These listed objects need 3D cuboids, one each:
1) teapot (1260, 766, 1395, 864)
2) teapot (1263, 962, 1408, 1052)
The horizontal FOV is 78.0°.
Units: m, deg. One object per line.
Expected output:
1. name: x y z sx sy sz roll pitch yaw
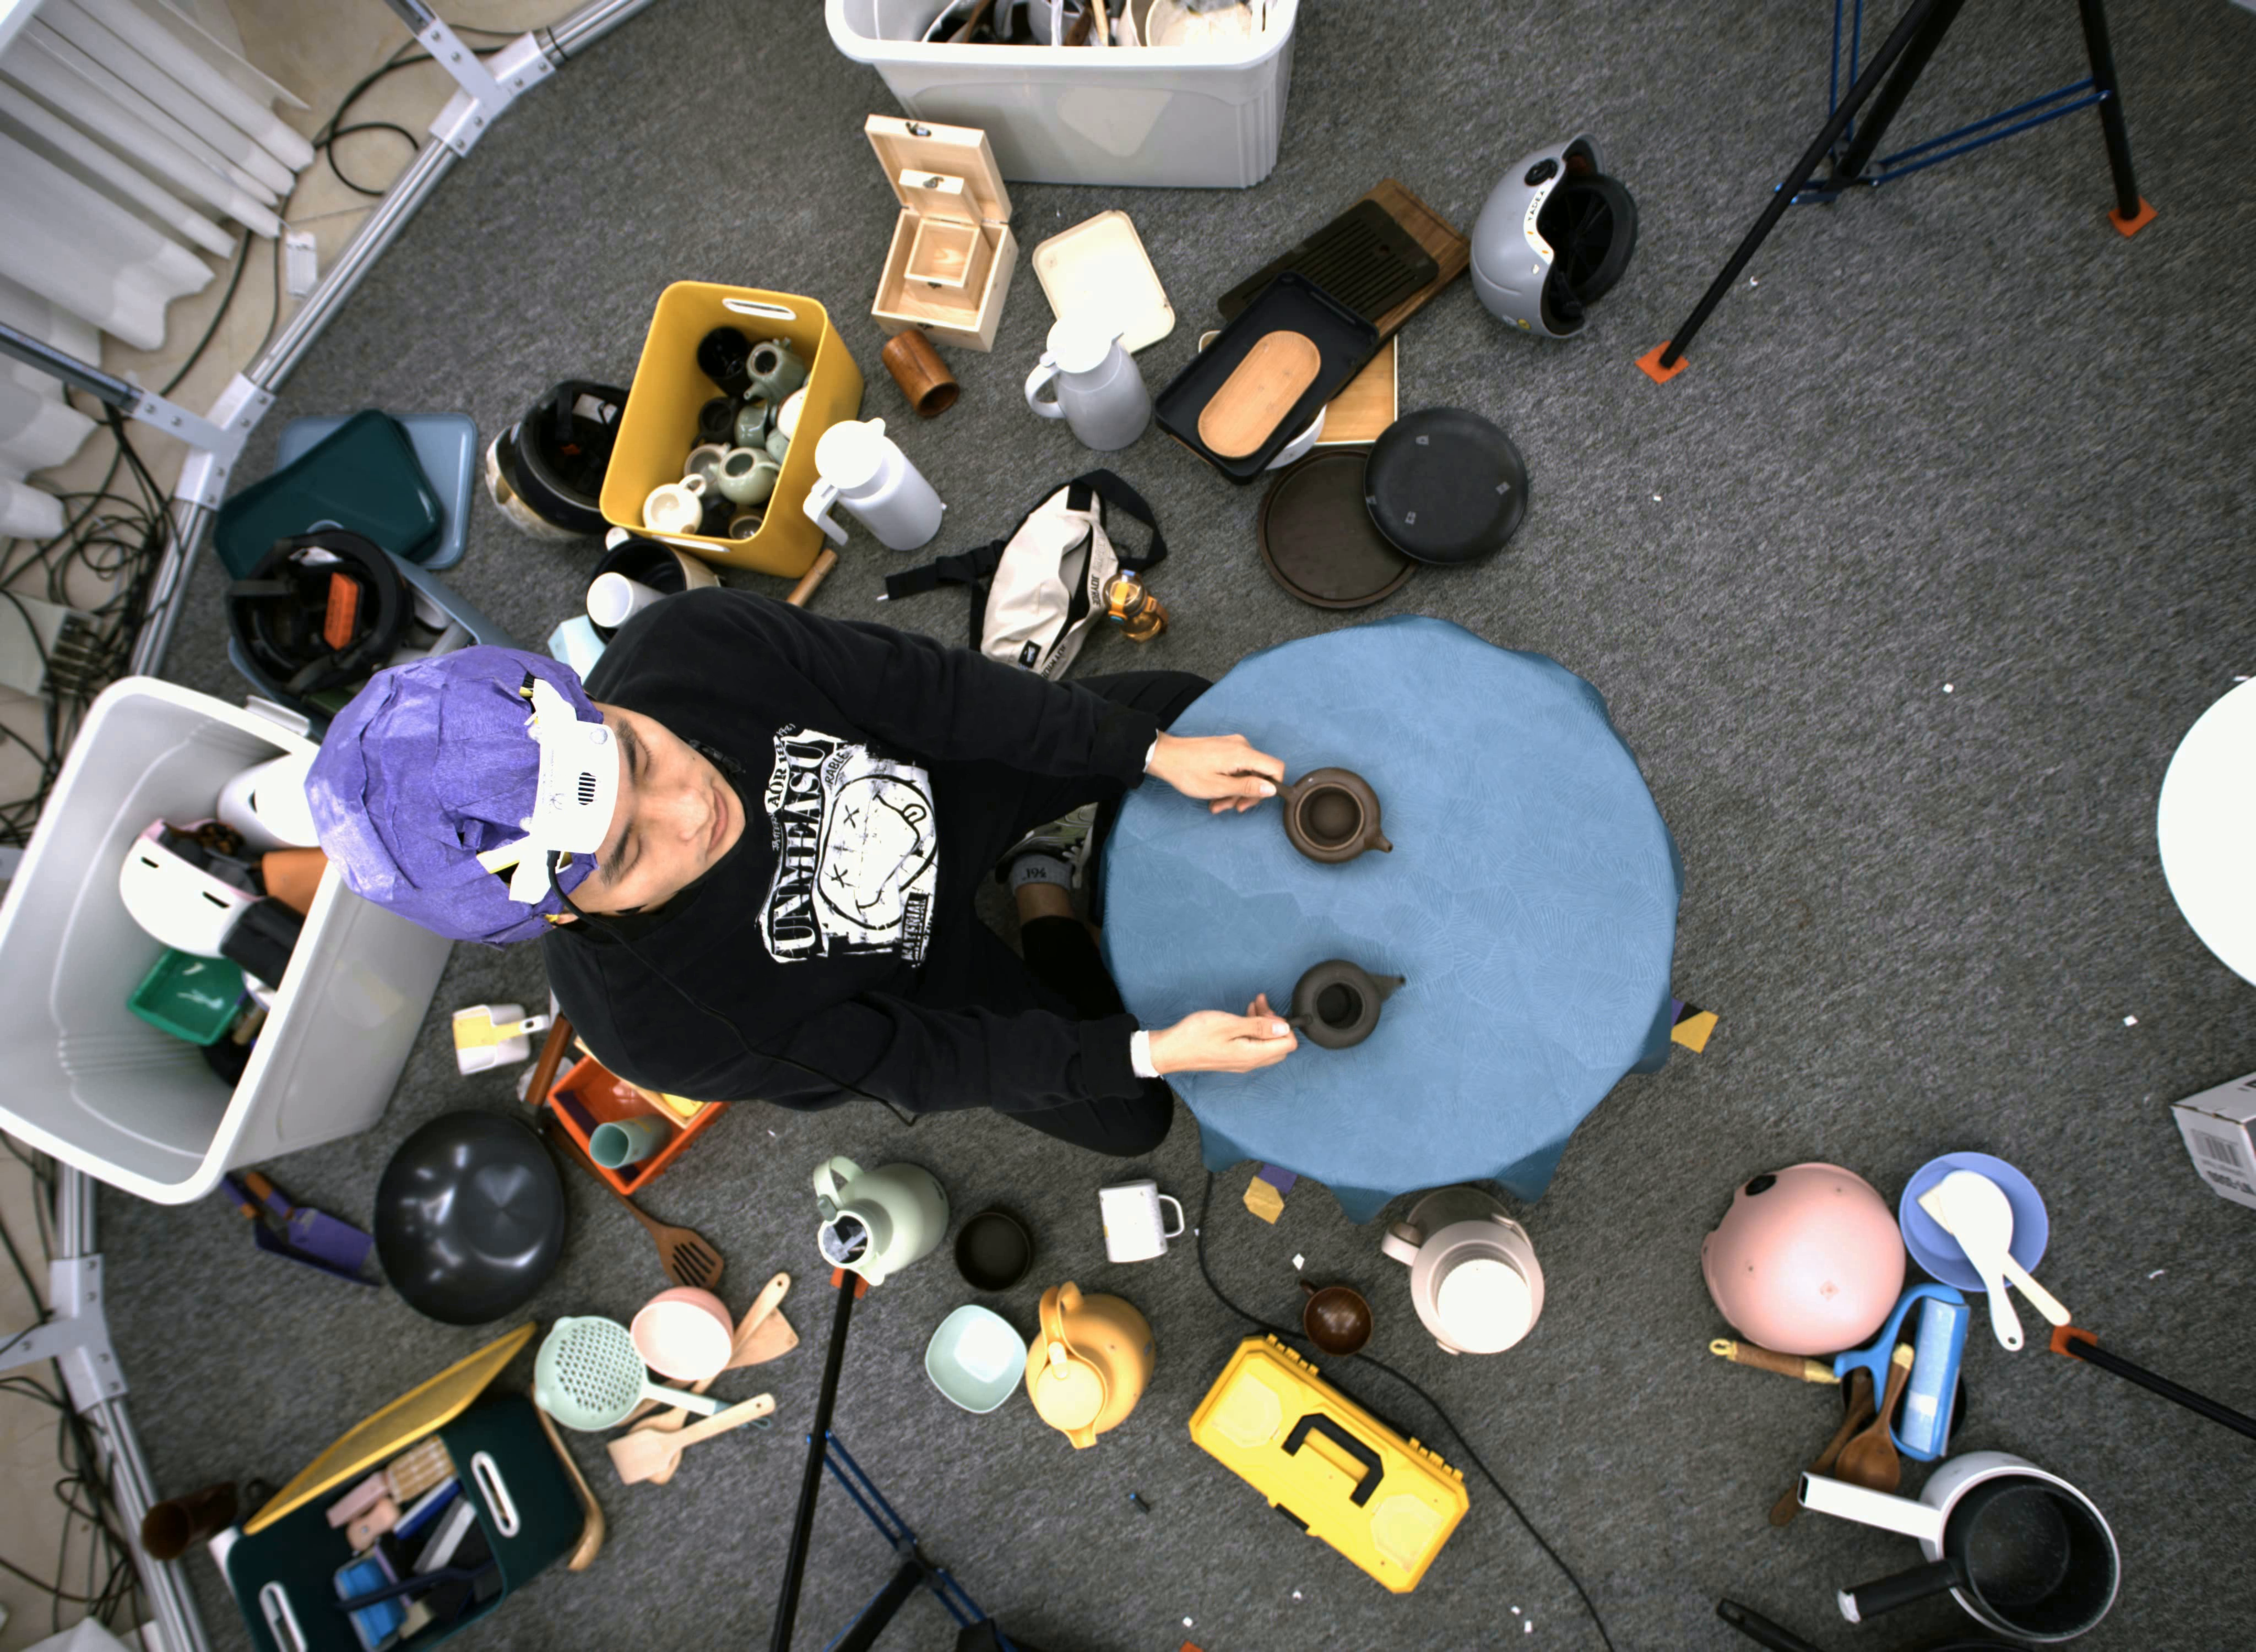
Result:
1. teapot: 0.209 -0.014 1.446 0.153 0.053 0.103 23 98 10
2. teapot: 0.212 0.186 1.427 0.154 0.064 0.092 -18 88 -2
